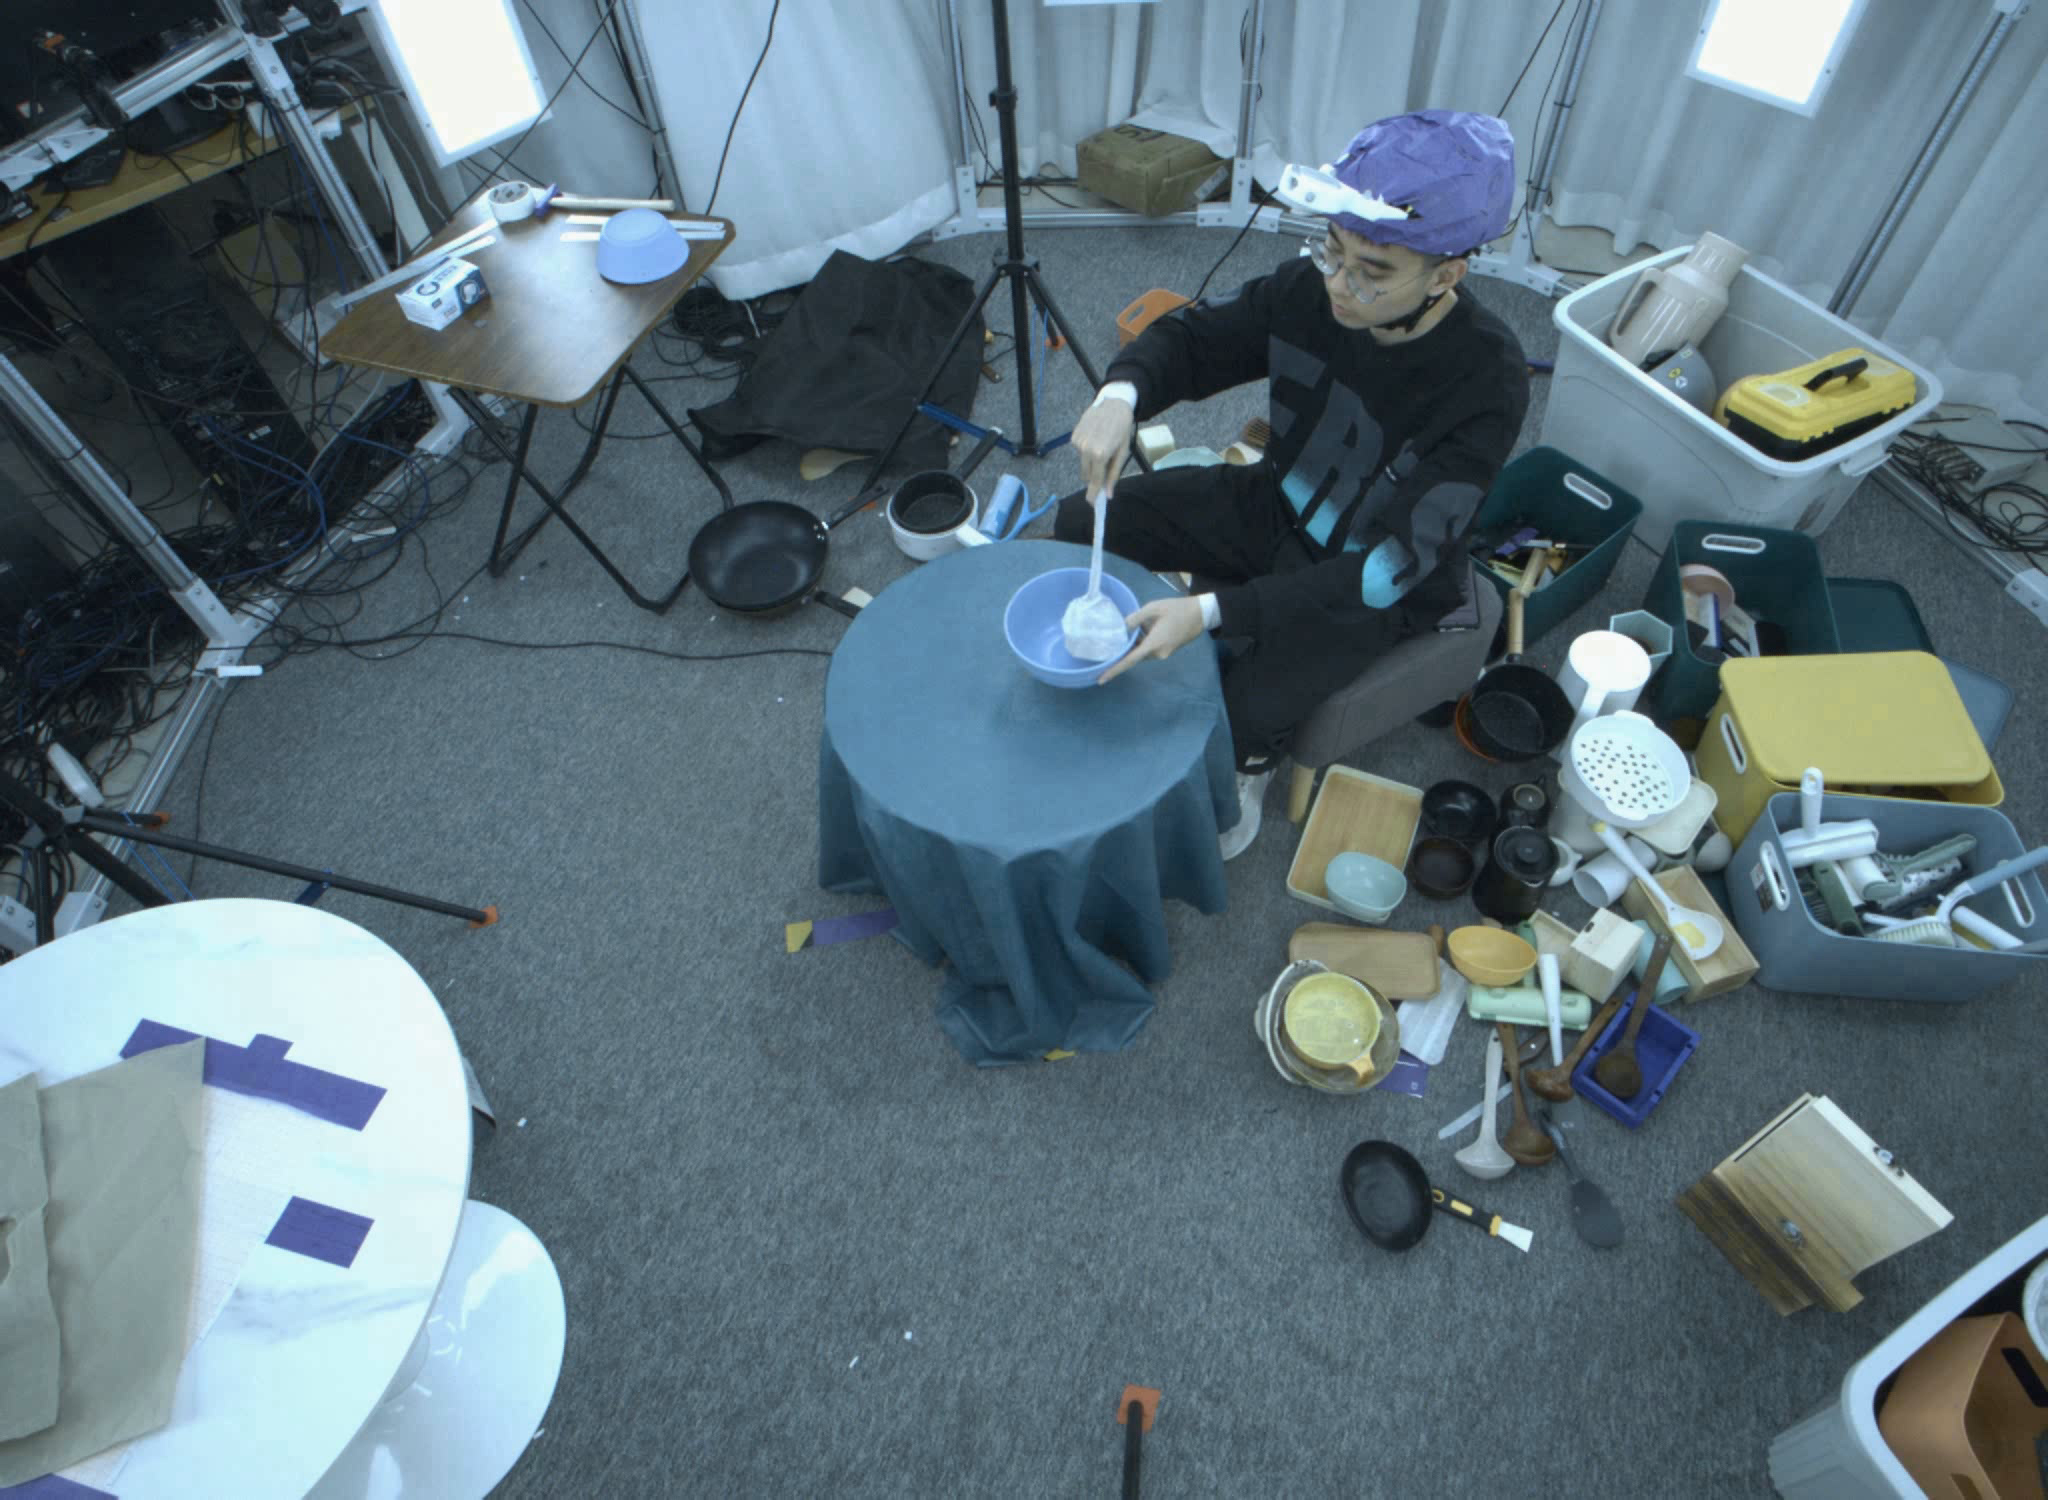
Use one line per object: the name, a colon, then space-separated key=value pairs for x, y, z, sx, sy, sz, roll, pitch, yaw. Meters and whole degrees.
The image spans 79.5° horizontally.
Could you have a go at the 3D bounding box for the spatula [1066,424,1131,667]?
spatula: x=0.114 y=-0.302 z=1.782 sx=0.100 sy=0.044 sz=0.365 roll=2 pitch=94 yaw=-14

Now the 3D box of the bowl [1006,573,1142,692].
bowl: x=0.075 y=-0.158 z=1.806 sx=0.196 sy=0.096 sz=0.194 roll=-1 pitch=56 yaw=3
